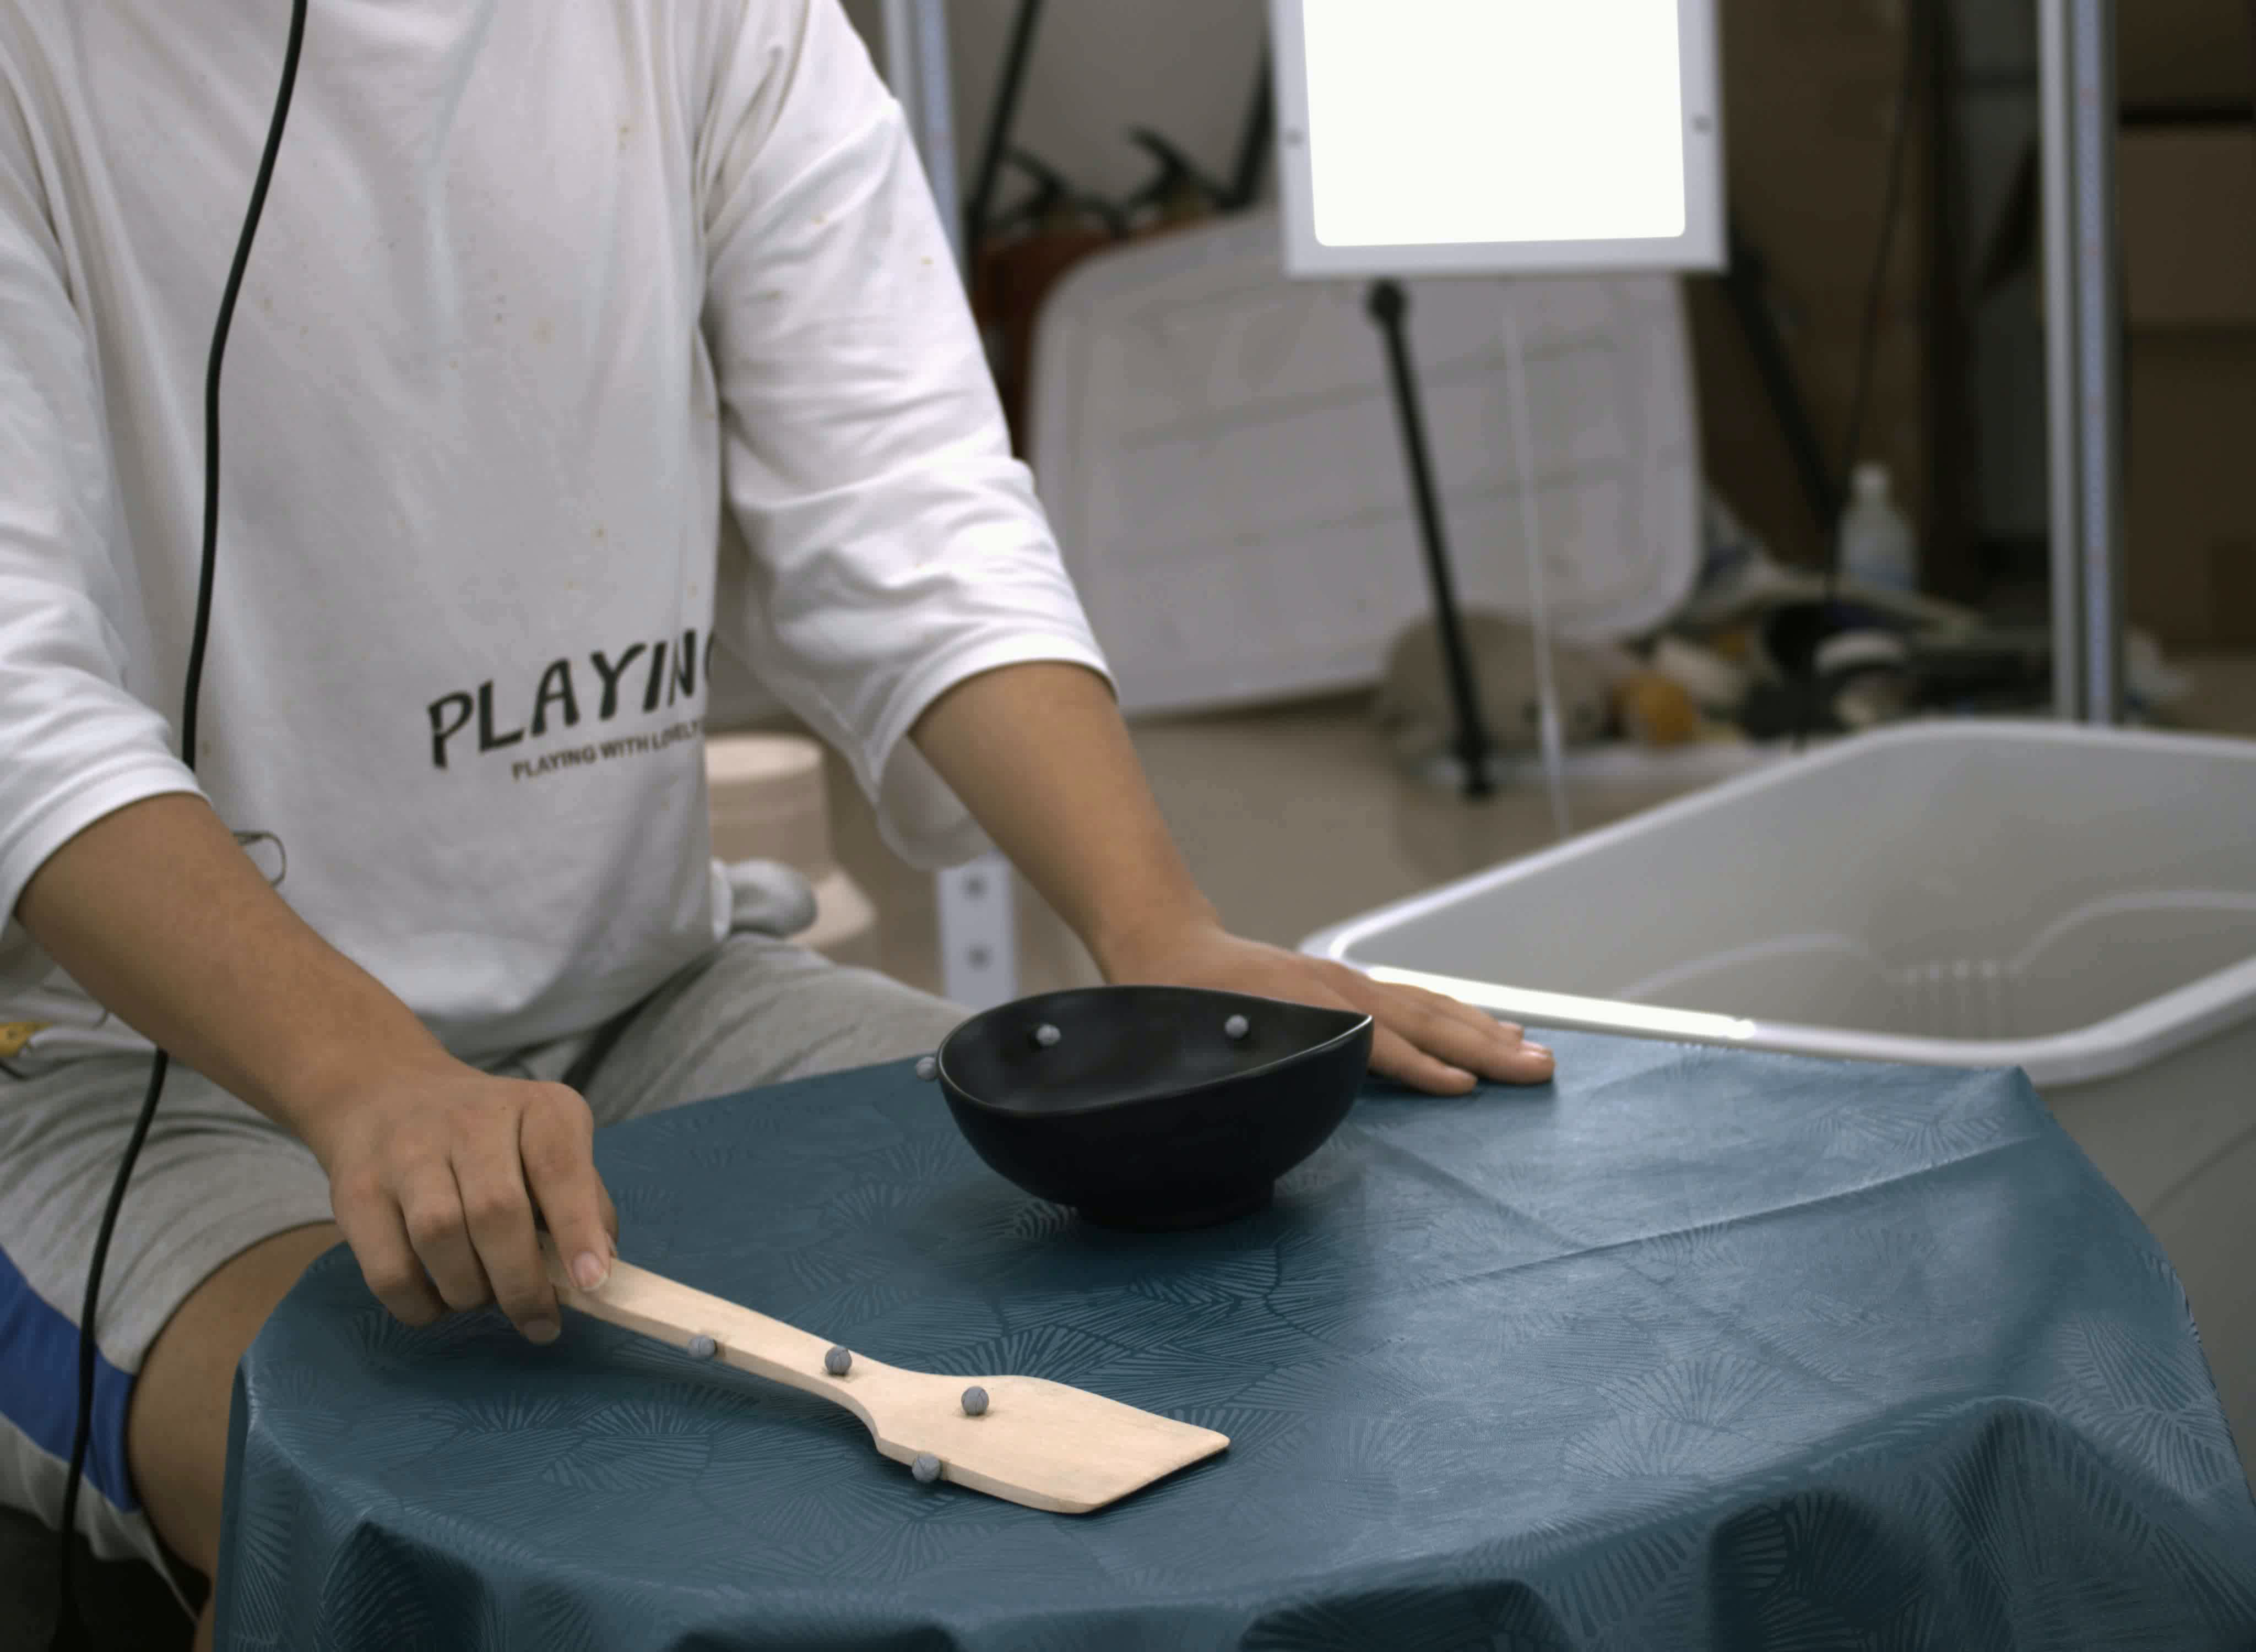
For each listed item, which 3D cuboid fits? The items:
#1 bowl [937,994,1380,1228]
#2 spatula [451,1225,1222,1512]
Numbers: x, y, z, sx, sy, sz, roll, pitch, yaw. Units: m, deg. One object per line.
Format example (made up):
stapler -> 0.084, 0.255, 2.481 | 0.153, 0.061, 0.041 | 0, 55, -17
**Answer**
bowl -> 0.013, 0.098, 1.877 | 0.140, 0.067, 0.166 | 6, 15, 40
spatula -> -0.103, 0.165, 1.711 | 0.299, 0.011, 0.070 | 14, 22, 39
